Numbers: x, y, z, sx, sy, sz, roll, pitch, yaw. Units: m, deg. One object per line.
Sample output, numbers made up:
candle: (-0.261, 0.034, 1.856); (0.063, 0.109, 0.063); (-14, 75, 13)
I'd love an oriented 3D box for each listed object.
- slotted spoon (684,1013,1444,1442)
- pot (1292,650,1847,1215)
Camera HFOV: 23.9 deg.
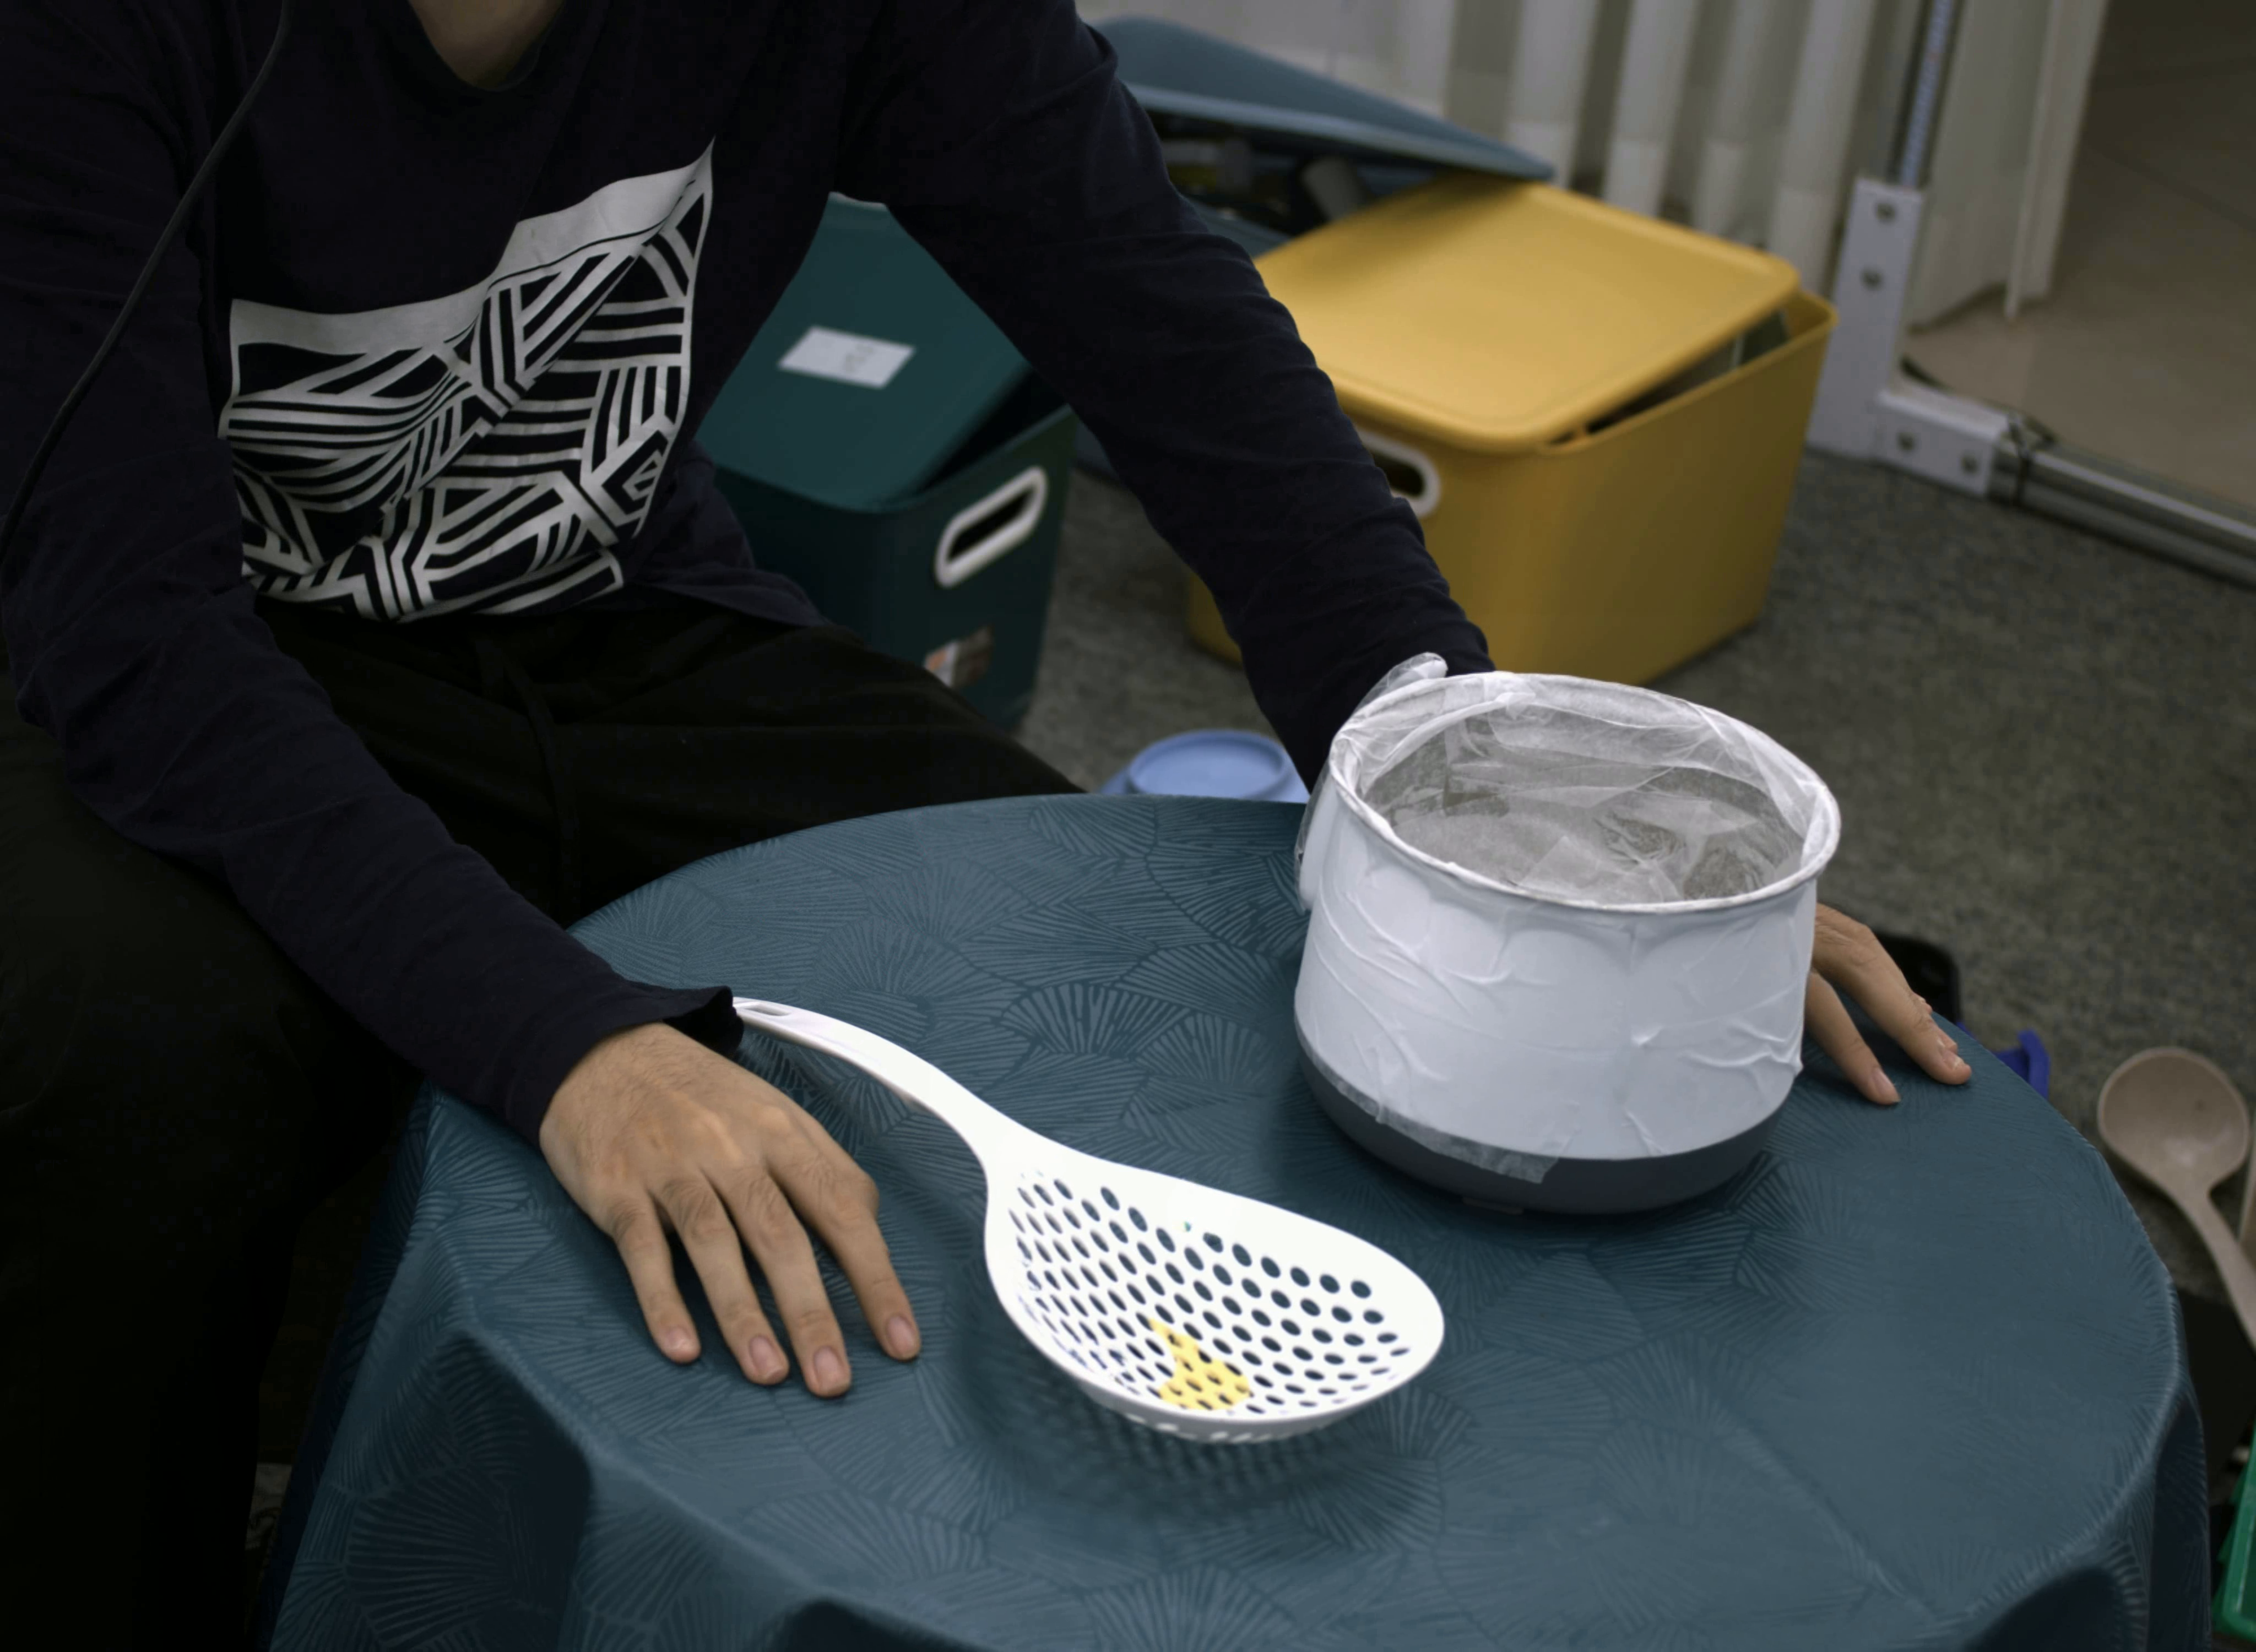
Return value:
slotted spoon: (-0.038, 0.120, 1.757); (0.136, 0.050, 0.351); (-15, 34, -35)
pot: (0.135, 0.030, 1.869); (0.177, 0.136, 0.236); (-8, 30, -32)
